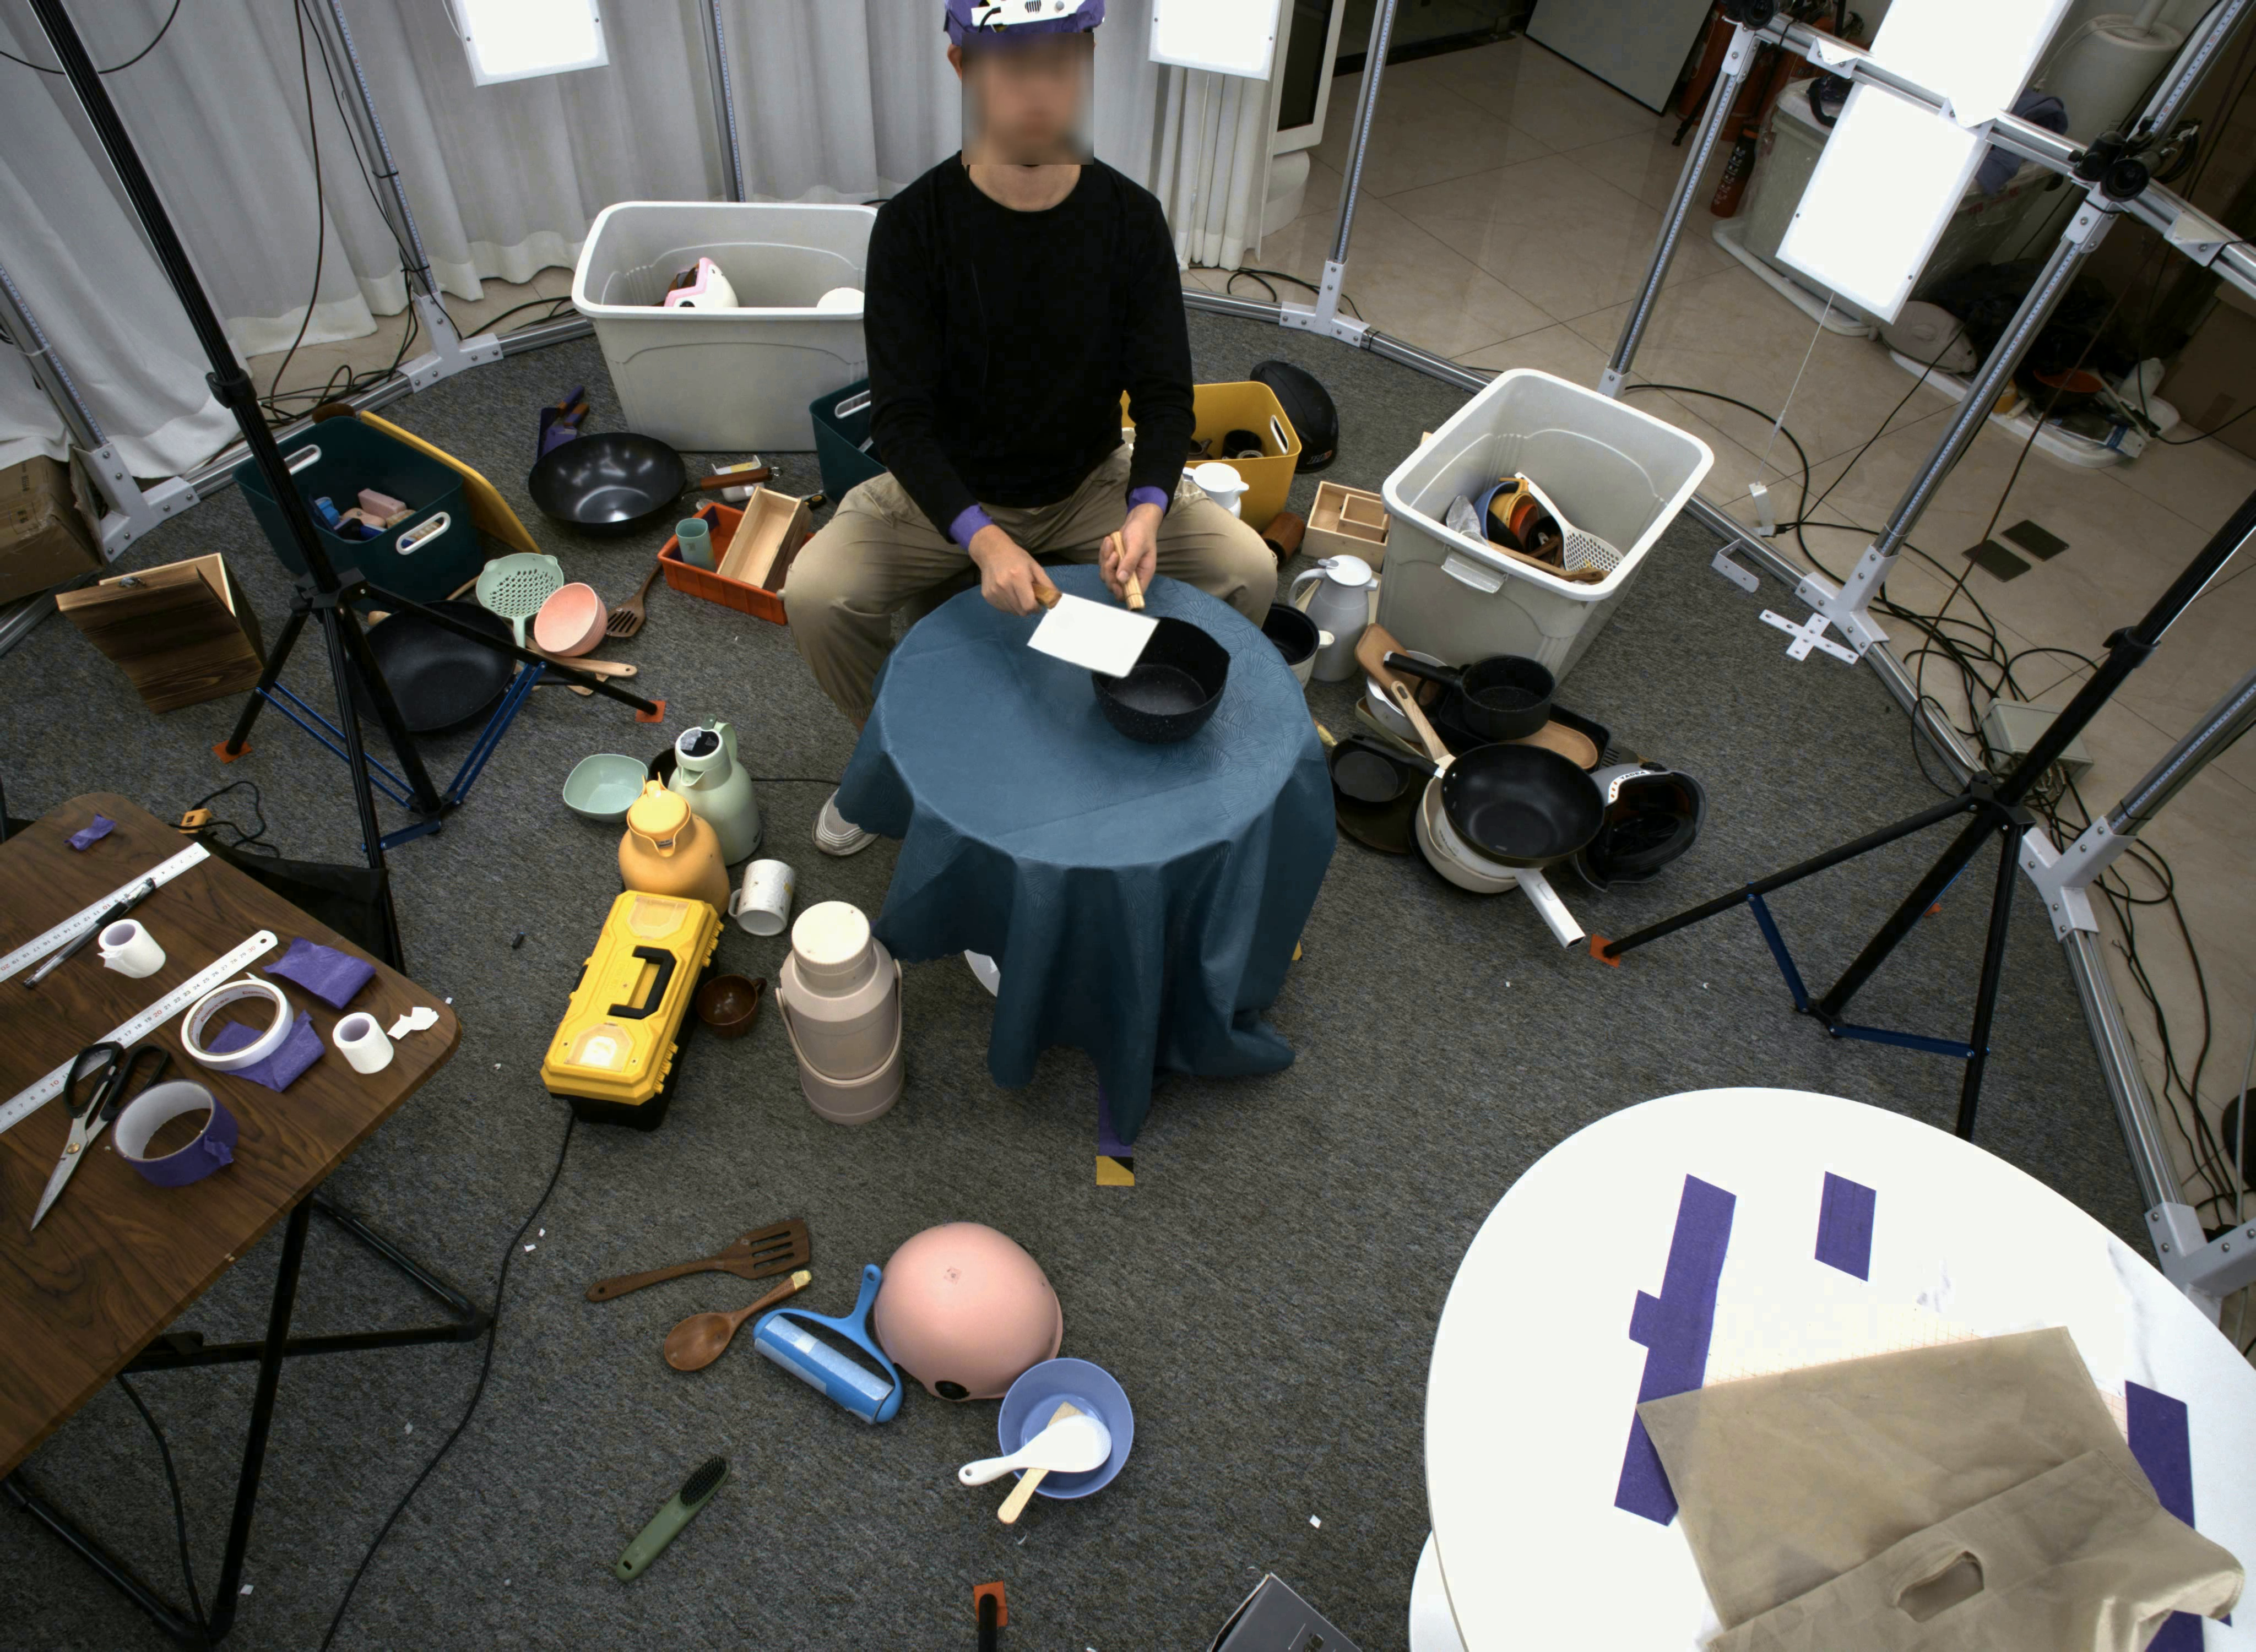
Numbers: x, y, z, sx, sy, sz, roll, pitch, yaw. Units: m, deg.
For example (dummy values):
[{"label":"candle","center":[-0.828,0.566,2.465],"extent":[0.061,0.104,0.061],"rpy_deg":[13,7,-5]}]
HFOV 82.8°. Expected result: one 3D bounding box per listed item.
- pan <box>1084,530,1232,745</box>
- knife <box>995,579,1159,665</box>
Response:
[{"label":"pan","center":[0.021,-0.267,1.821],"extent":[0.207,0.106,0.351],"rpy_deg":[-10,55,-12]},{"label":"knife","center":[-0.086,-0.280,1.771],"extent":[0.309,0.020,0.093],"rpy_deg":[22,78,39]}]
